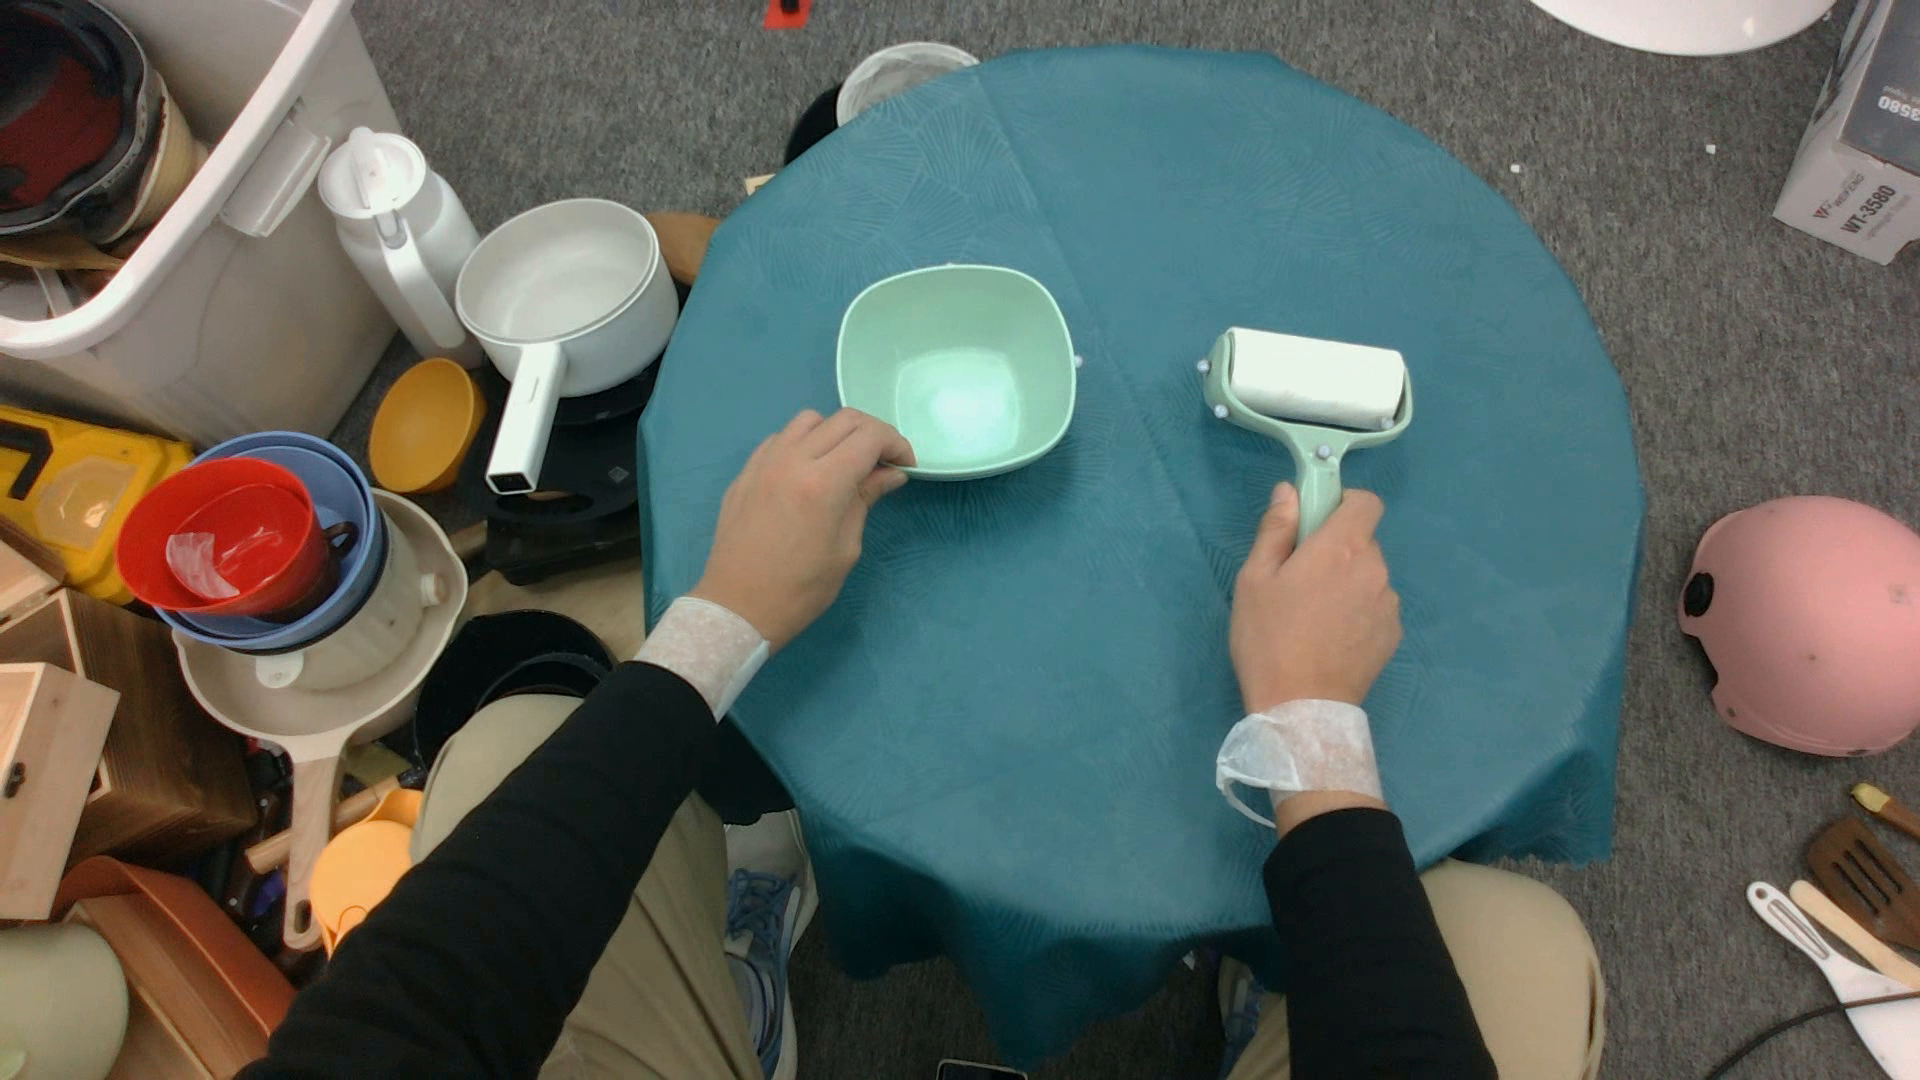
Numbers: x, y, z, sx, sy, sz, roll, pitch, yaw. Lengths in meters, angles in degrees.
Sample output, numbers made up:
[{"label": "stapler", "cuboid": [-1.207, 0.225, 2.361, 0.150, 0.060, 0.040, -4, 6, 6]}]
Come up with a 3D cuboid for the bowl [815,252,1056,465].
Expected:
[{"label": "bowl", "cuboid": [-0.014, -0.098, 0.819, 0.151, 0.058, 0.152, 1, 66, -1]}]

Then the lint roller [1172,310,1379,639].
[{"label": "lint roller", "cuboid": [0.181, -0.041, 0.783, 0.117, 0.048, 0.198, 8, 62, -7]}]
